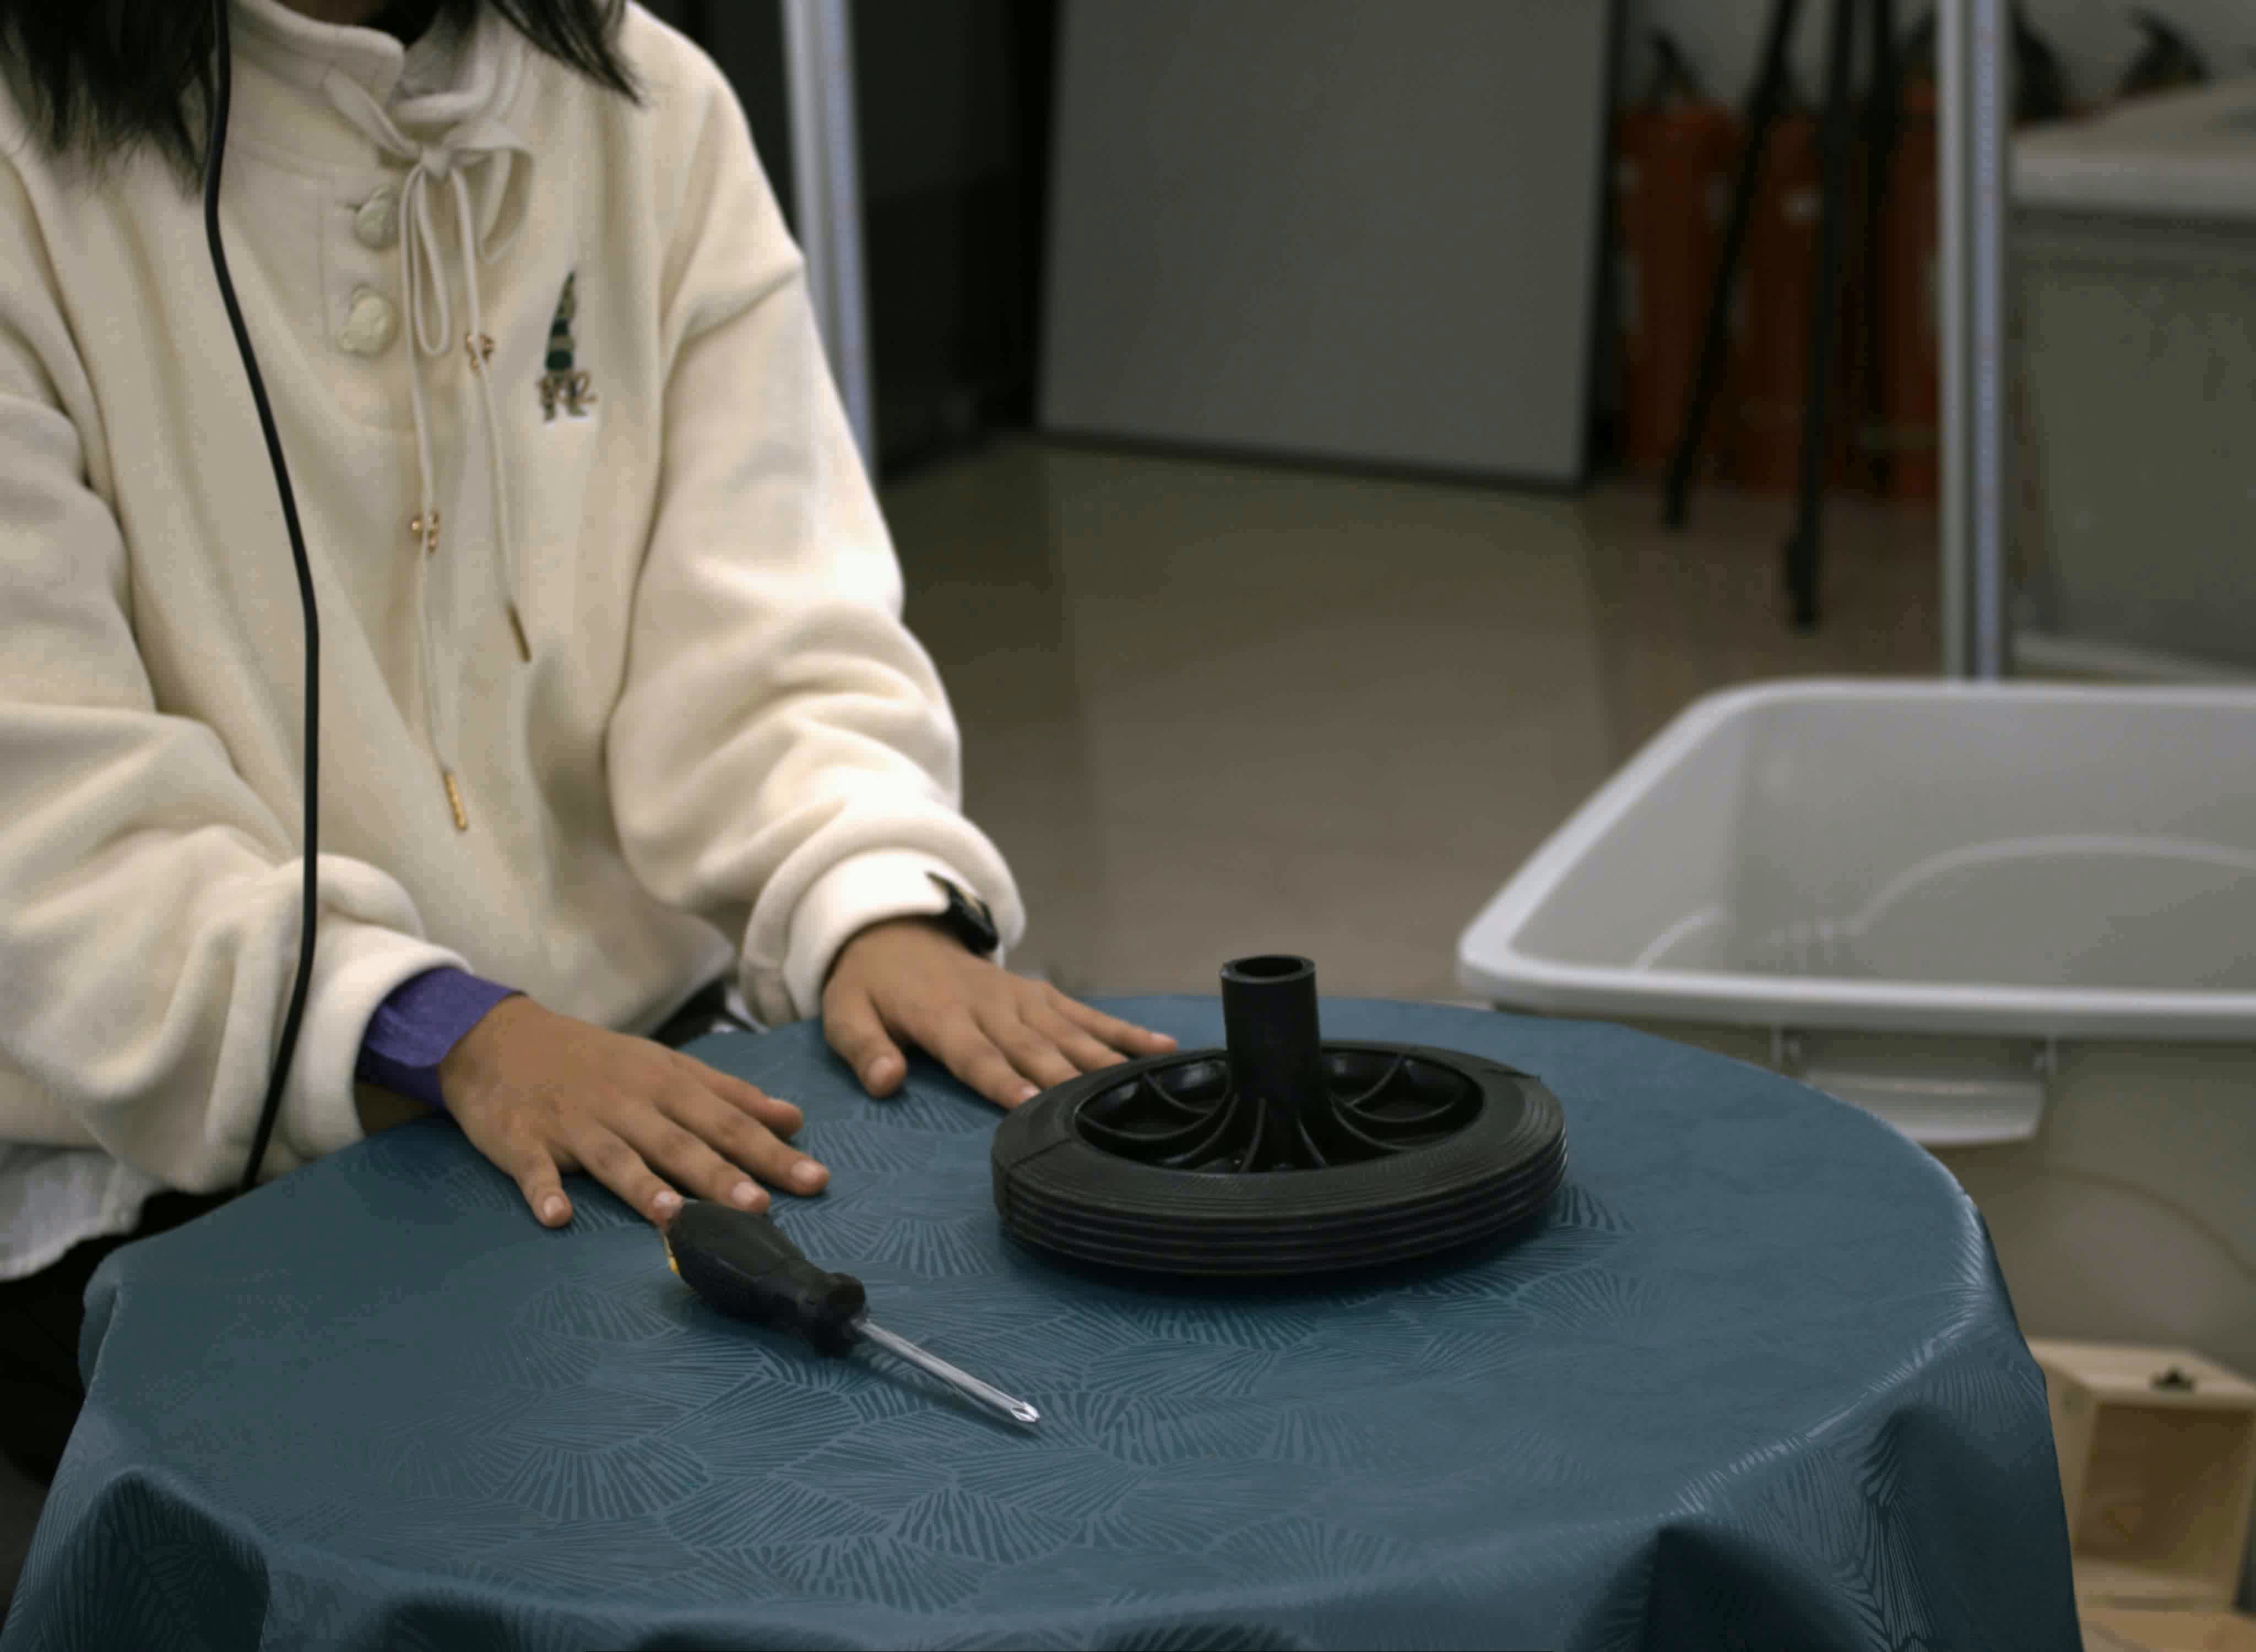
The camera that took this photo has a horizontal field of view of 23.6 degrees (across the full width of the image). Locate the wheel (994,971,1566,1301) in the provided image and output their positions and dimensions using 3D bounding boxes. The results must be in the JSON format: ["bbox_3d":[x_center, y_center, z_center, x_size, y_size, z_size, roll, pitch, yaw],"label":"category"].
[{"bbox_3d":[0.047,0.089,1.730,0.187,0.080,0.188,0,17,17],"label":"wheel"}]

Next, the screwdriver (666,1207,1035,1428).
[{"bbox_3d":[-0.080,0.149,1.631,0.031,0.032,0.198,-13,18,-35],"label":"screwdriver"}]
